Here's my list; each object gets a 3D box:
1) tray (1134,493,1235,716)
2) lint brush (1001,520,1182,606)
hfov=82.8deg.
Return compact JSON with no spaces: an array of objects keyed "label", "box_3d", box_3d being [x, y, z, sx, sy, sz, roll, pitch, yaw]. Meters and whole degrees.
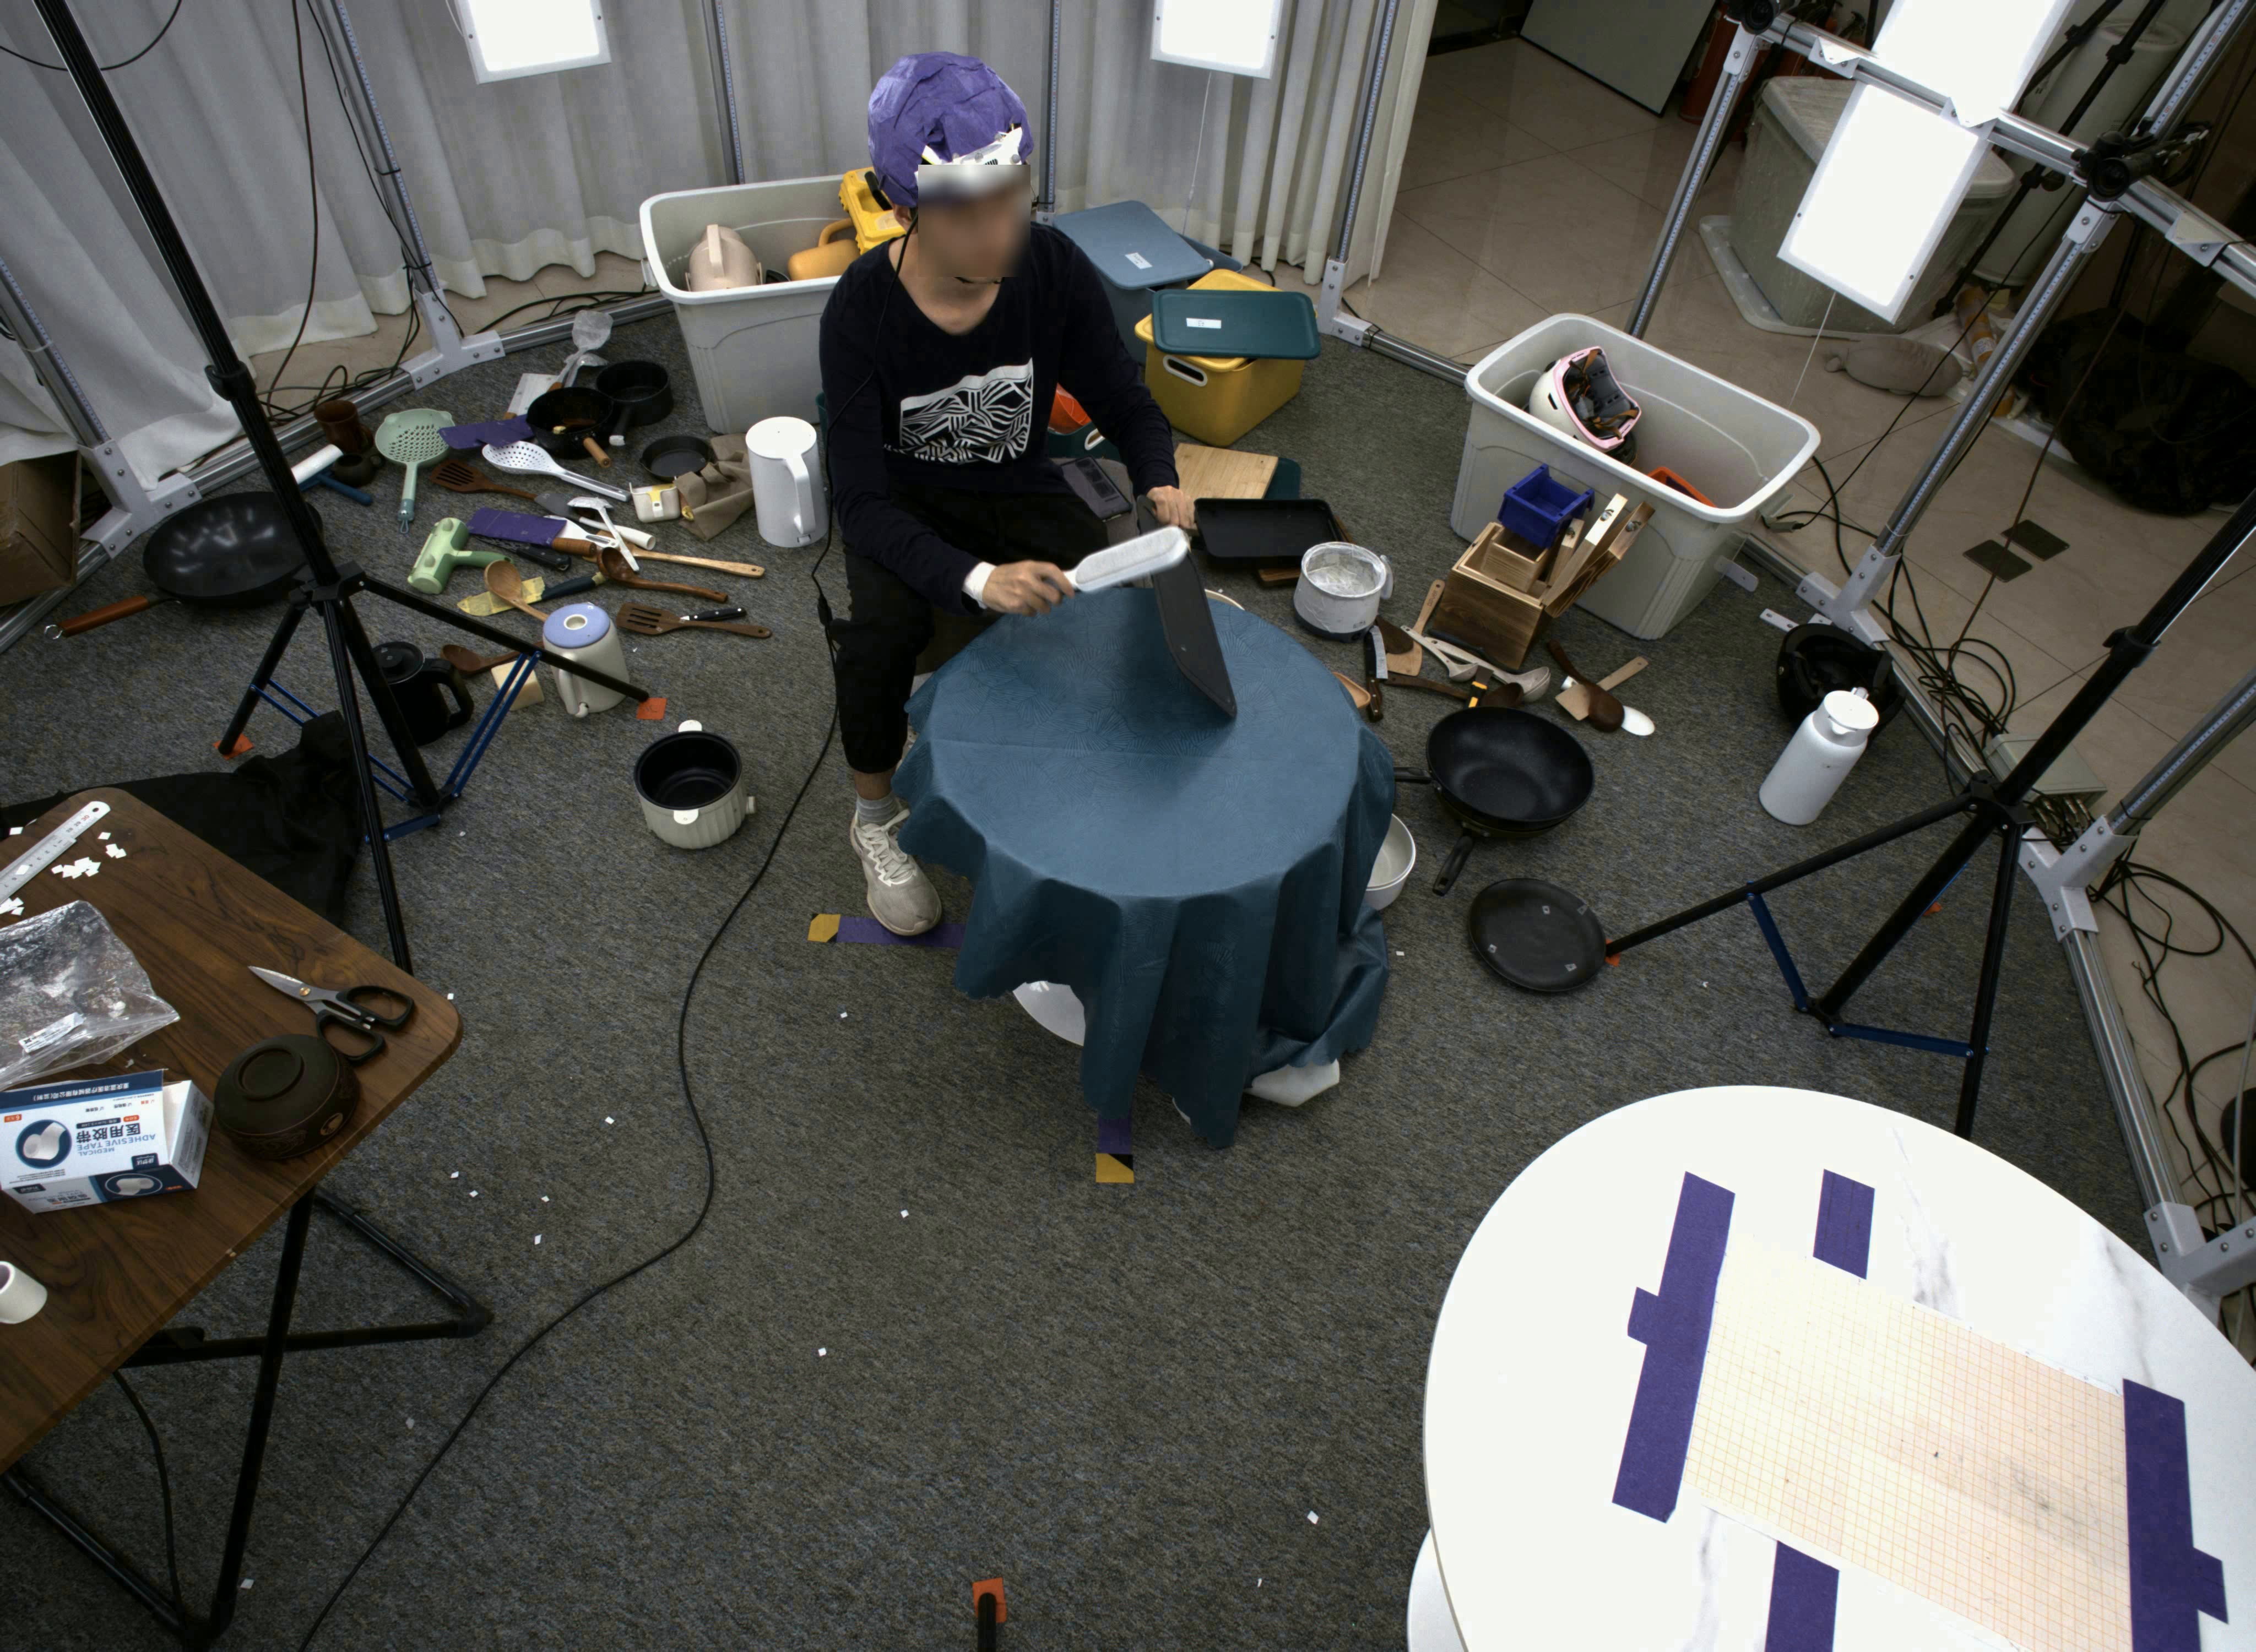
[{"label":"tray","box_3d":[0.080,-0.318,1.805,0.010,0.207,0.332,-24,58,22]},{"label":"lint brush","box_3d":[-0.055,-0.354,1.764,0.308,0.020,0.061,-12,60,35]}]
